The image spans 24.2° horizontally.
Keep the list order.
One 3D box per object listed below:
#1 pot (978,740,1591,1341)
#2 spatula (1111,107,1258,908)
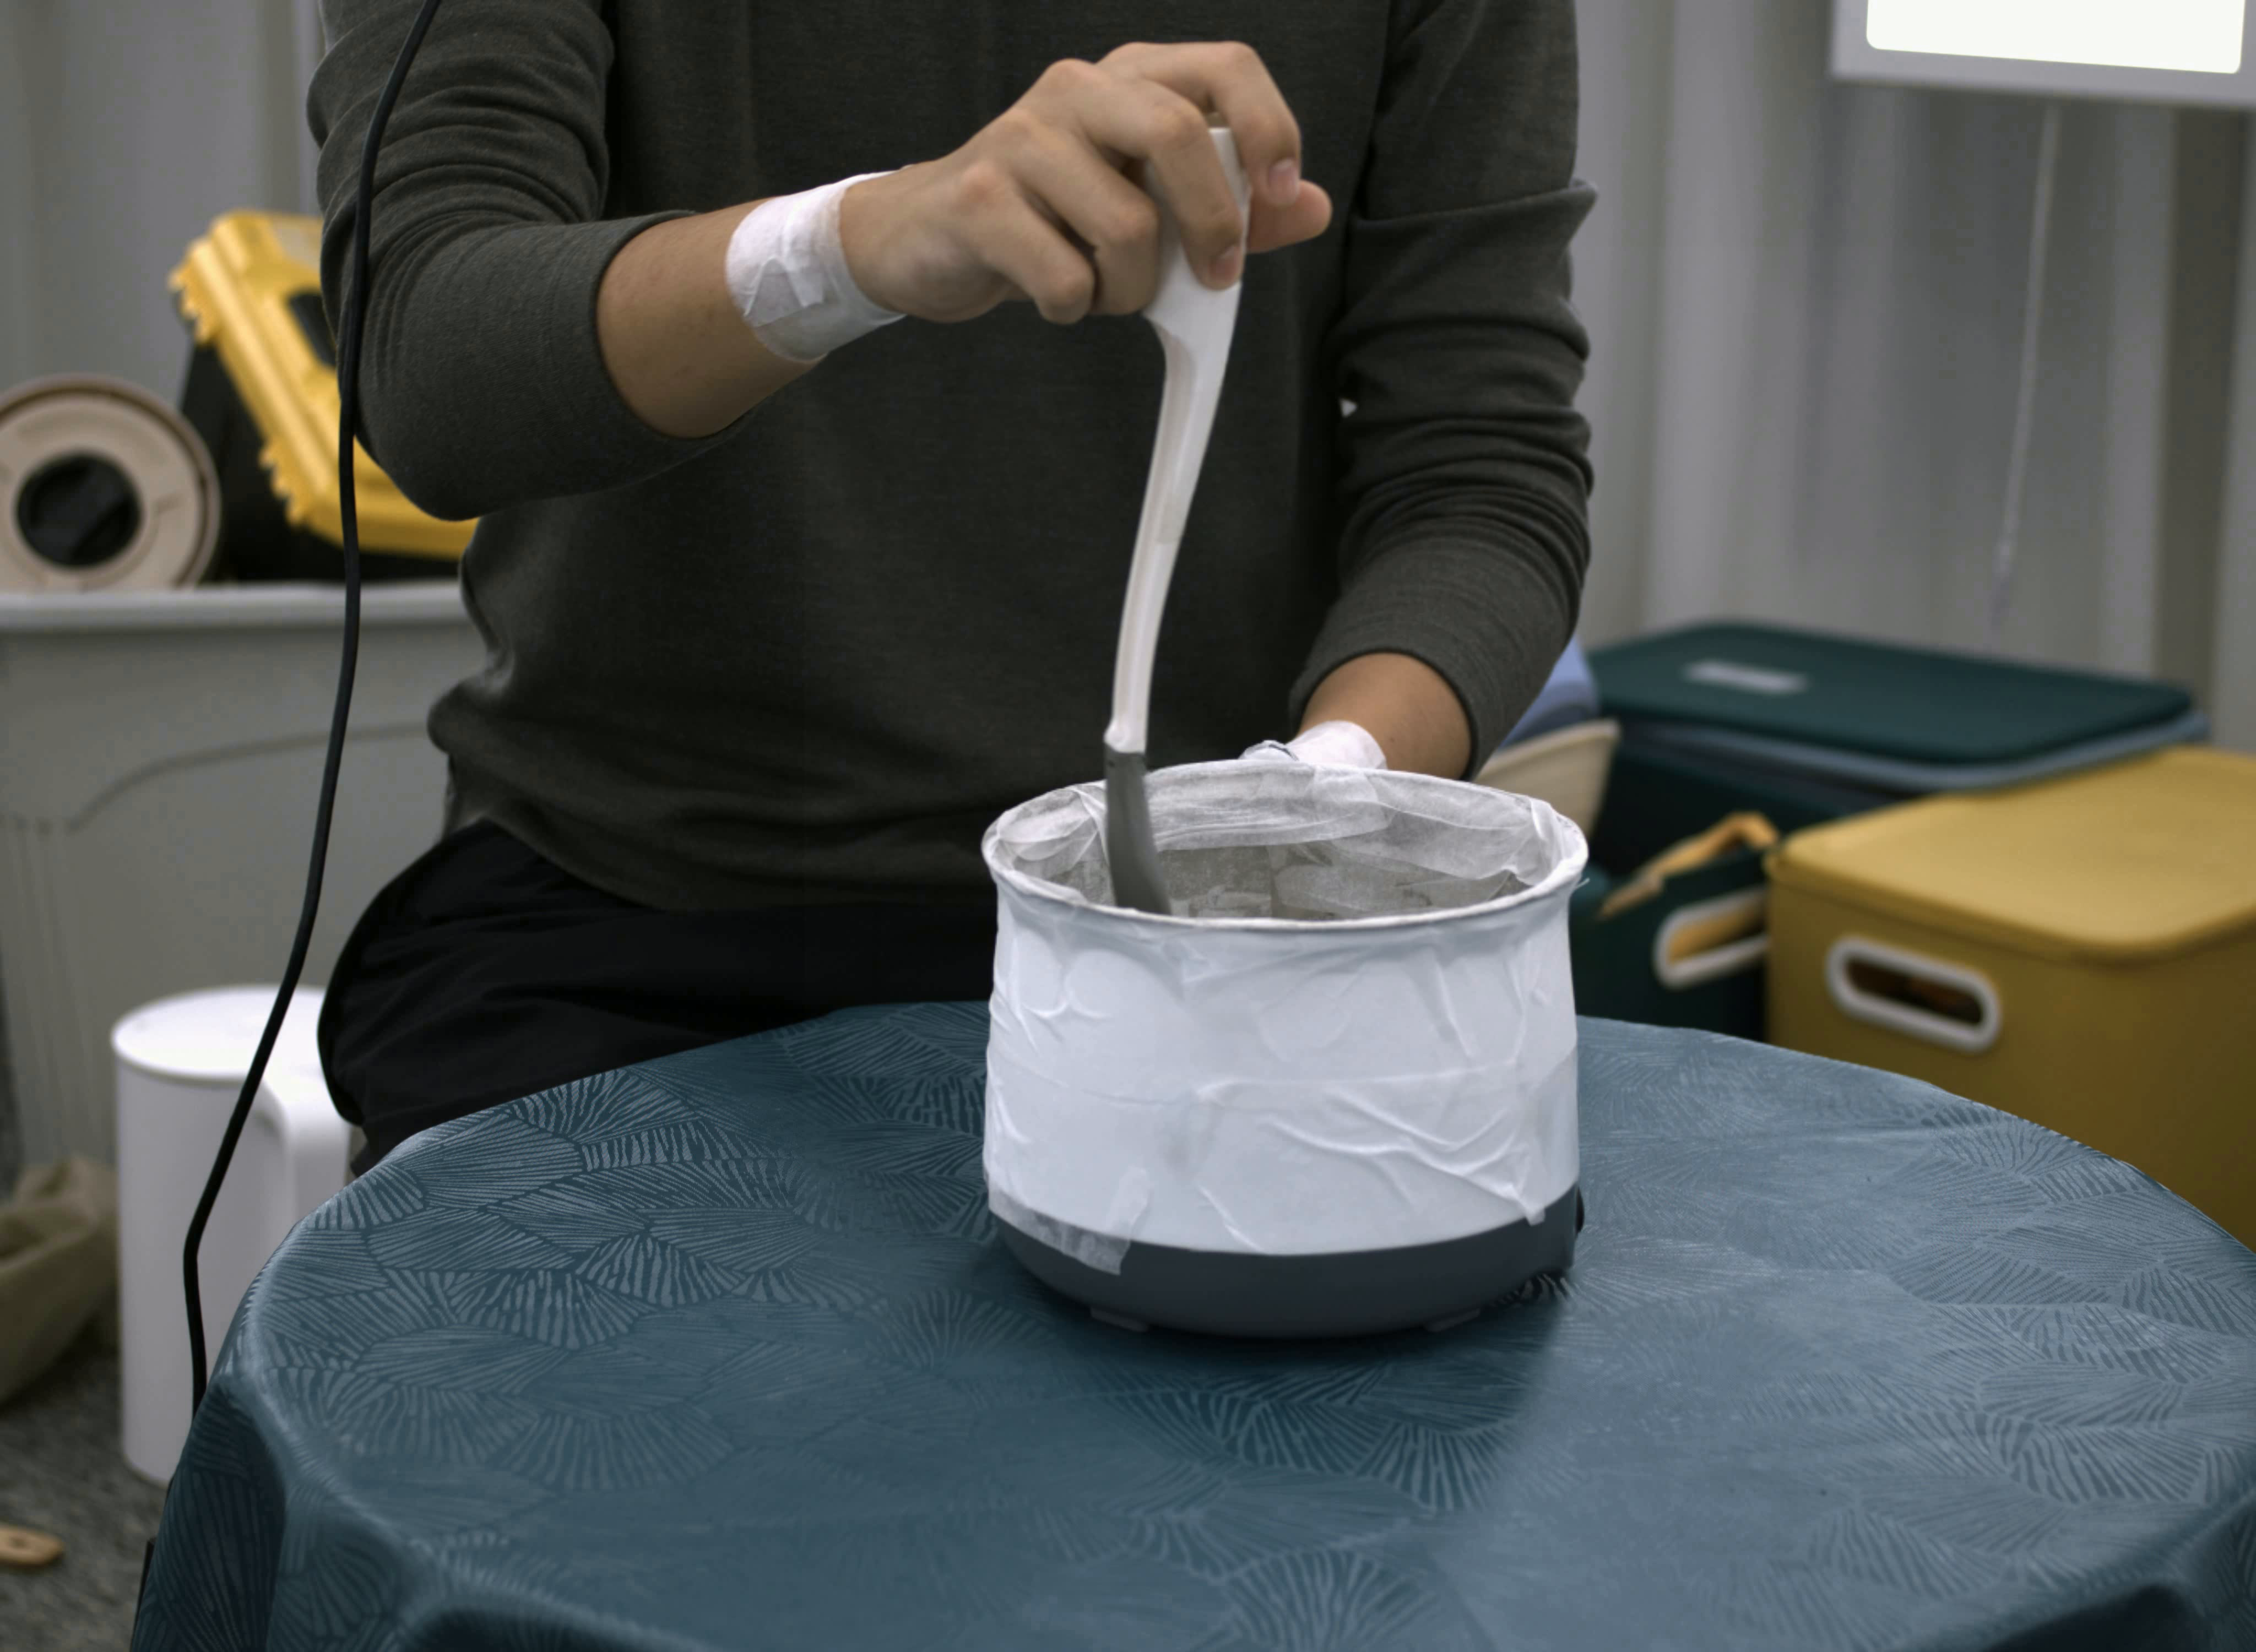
[{"bbox_3d":[0.044,0.058,1.567,0.178,0.138,0.232,0,15,-3],"label":"pot"},{"bbox_3d":[0.014,-0.058,1.492,0.032,0.290,0.058,-3,16,-18],"label":"spatula"}]
